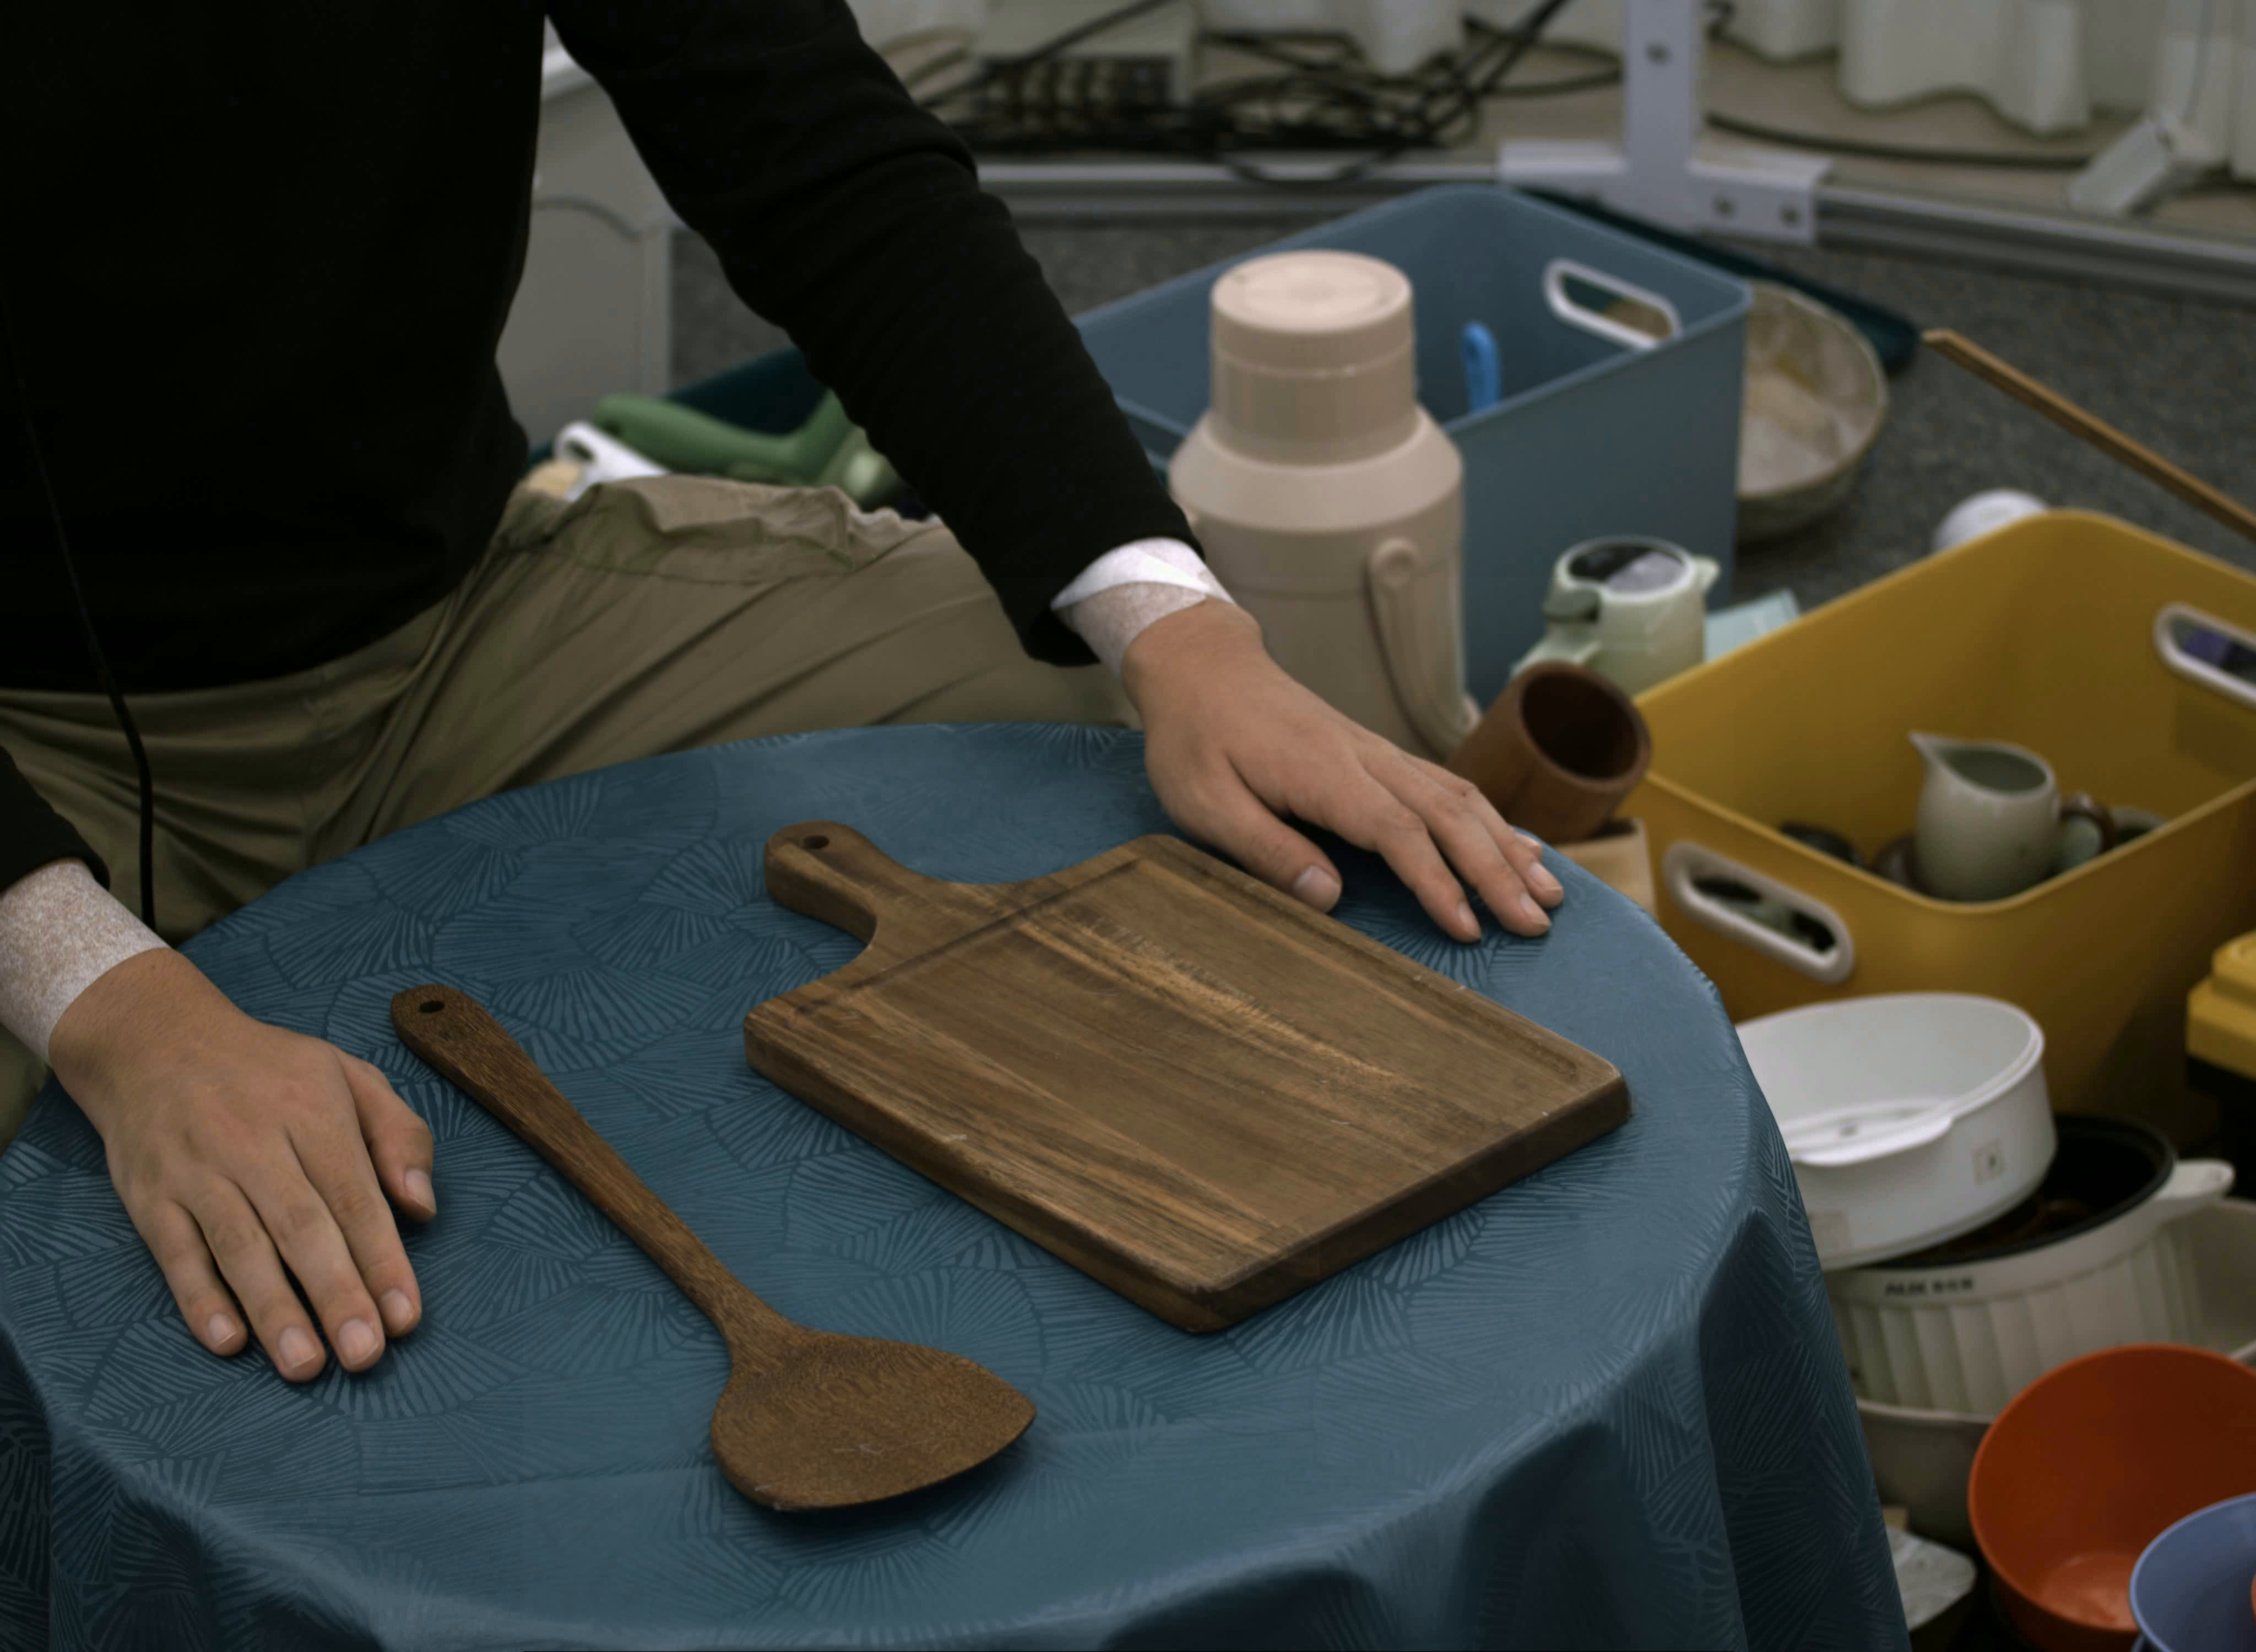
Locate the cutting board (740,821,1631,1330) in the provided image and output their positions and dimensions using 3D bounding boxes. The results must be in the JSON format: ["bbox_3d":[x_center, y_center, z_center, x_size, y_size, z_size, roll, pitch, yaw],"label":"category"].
[{"bbox_3d":[-0.014,0.065,1.948,0.203,0.023,0.352,-23,33,-34],"label":"cutting board"}]

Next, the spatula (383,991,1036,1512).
[{"bbox_3d":[-0.158,0.130,1.844,0.097,0.015,0.387,-17,30,-26],"label":"spatula"}]
